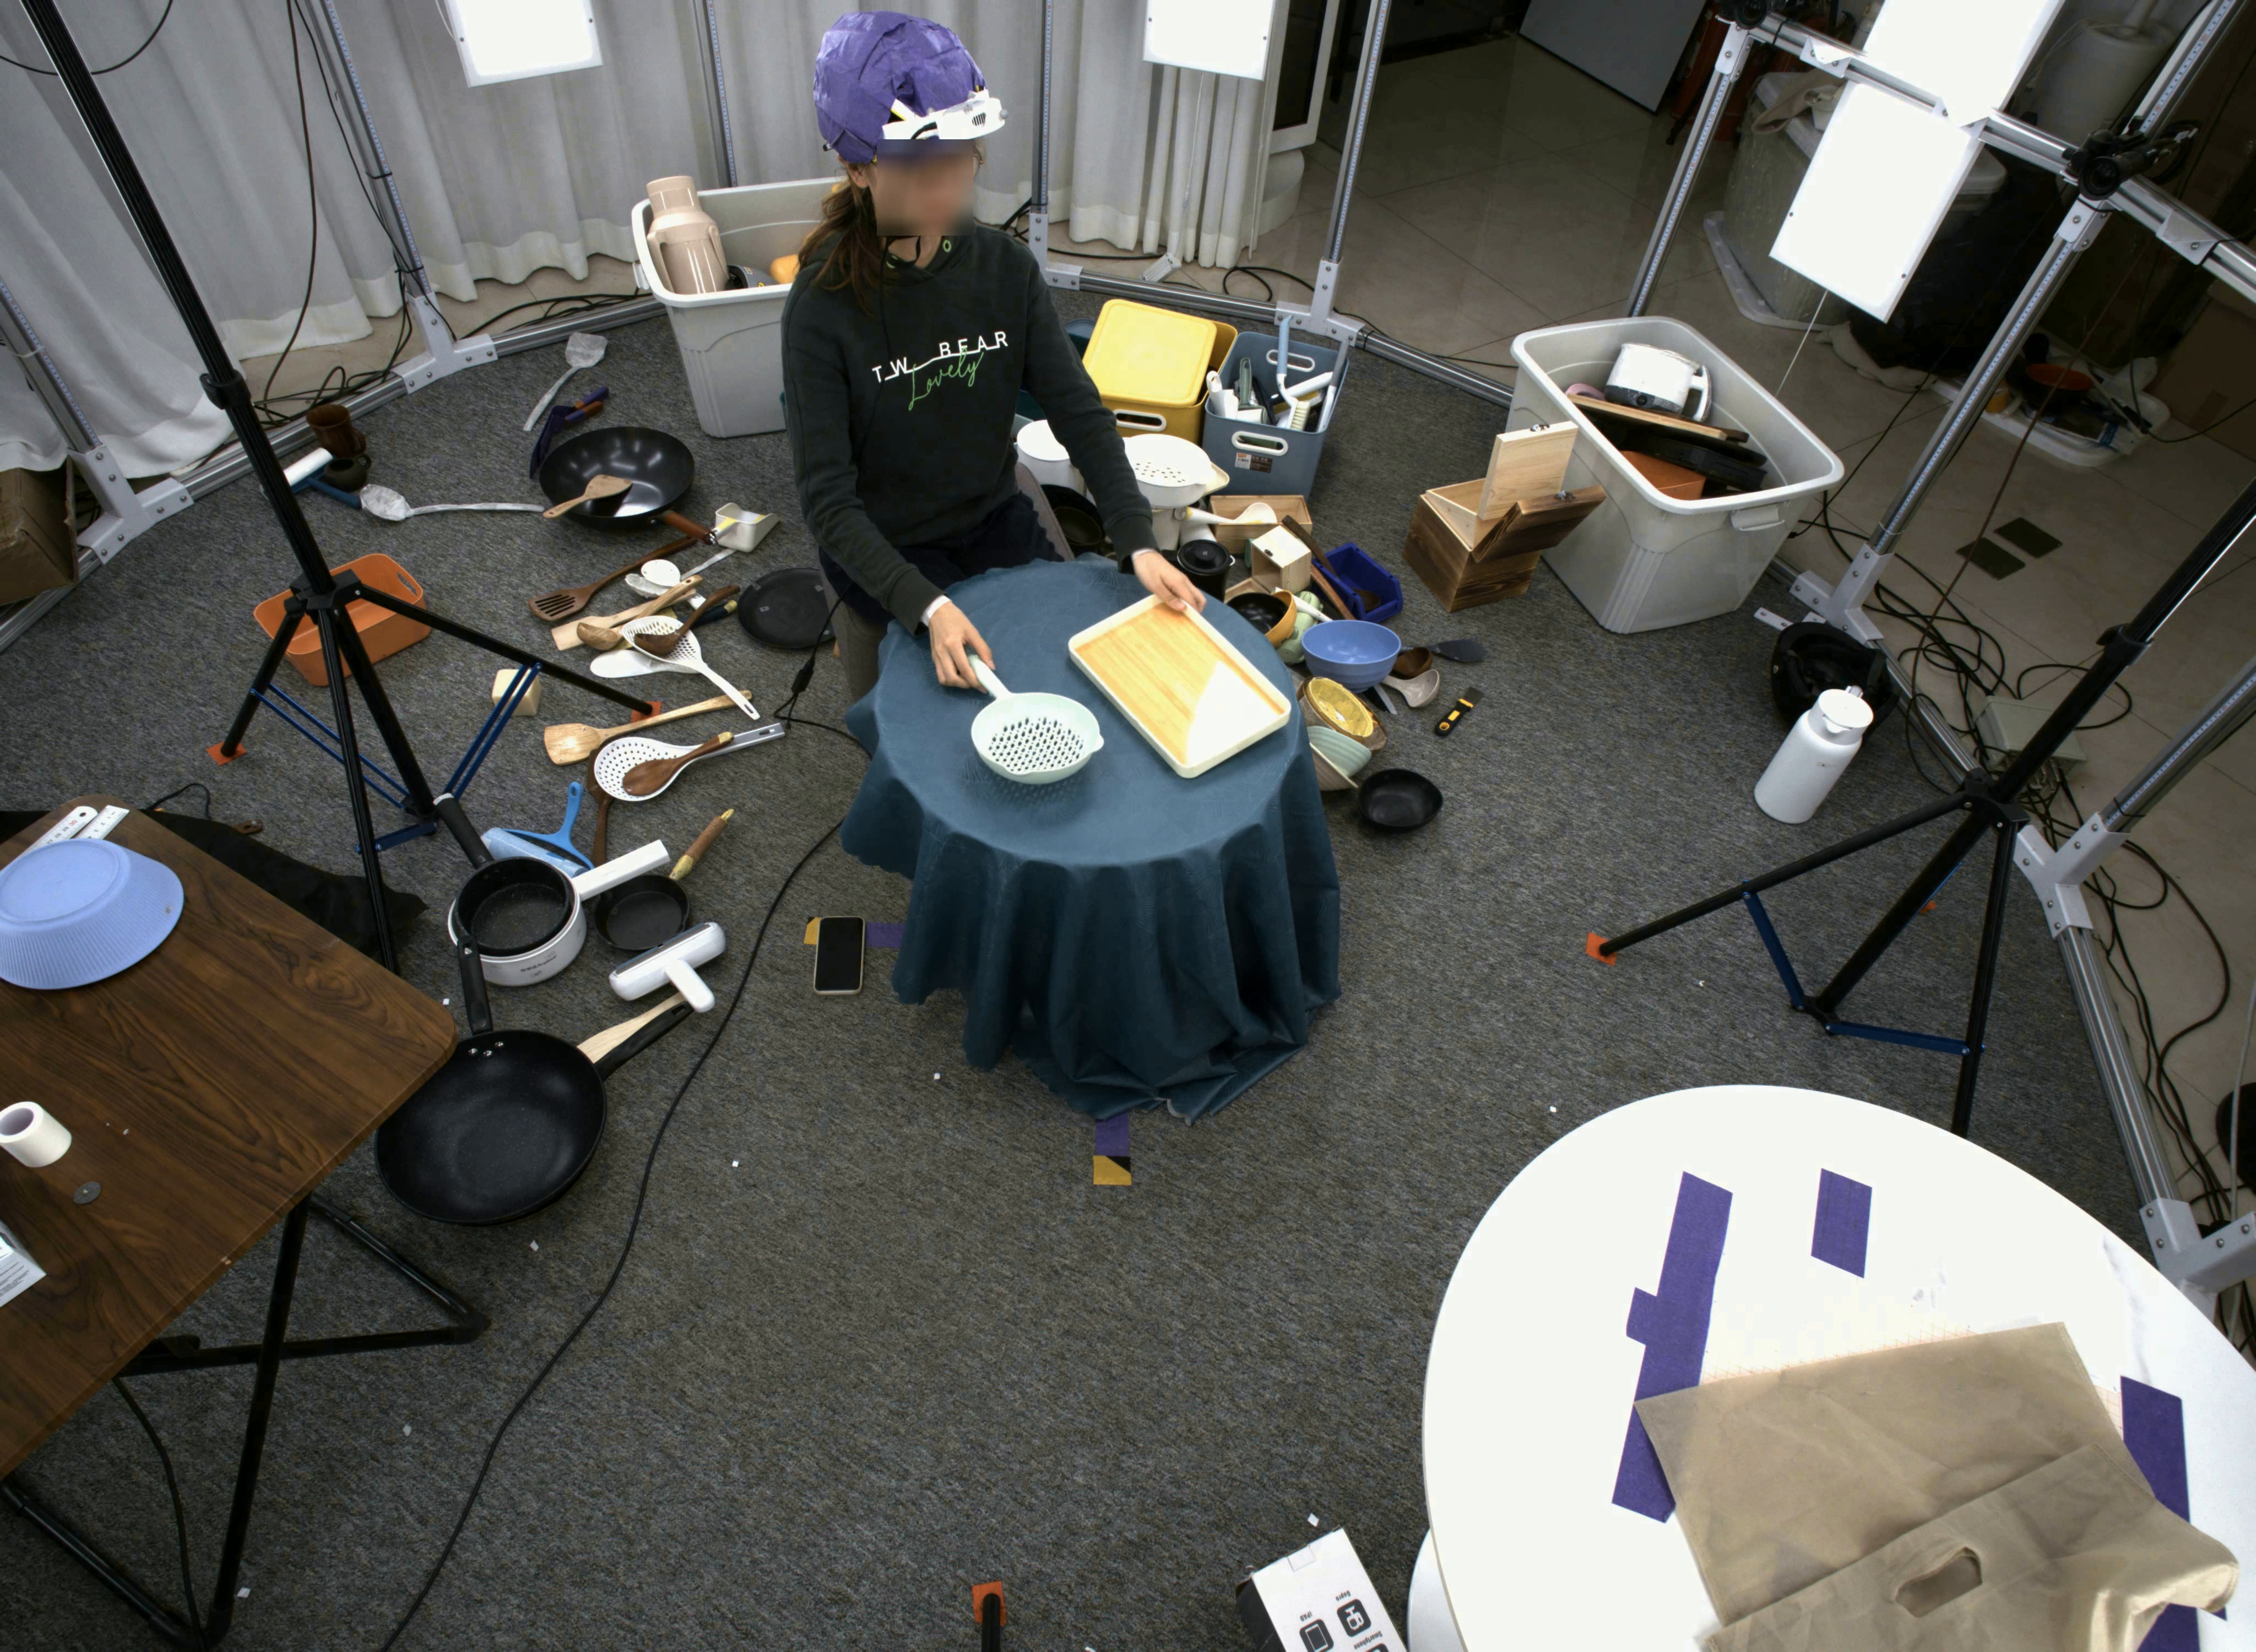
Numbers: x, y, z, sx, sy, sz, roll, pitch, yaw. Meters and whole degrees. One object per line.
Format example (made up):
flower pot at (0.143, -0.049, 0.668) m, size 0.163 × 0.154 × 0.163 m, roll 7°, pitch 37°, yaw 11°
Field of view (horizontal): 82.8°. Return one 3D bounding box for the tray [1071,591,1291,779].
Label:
tray at (0.072, -0.208, 1.838) m, size 0.192 × 0.027 × 0.306 m, roll -30°, pitch 57°, yaw -17°

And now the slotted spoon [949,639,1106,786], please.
slotted spoon at (-0.170, -0.174, 1.783) m, size 0.170 × 0.073 × 0.366 m, roll -18°, pitch 52°, yaw -23°
